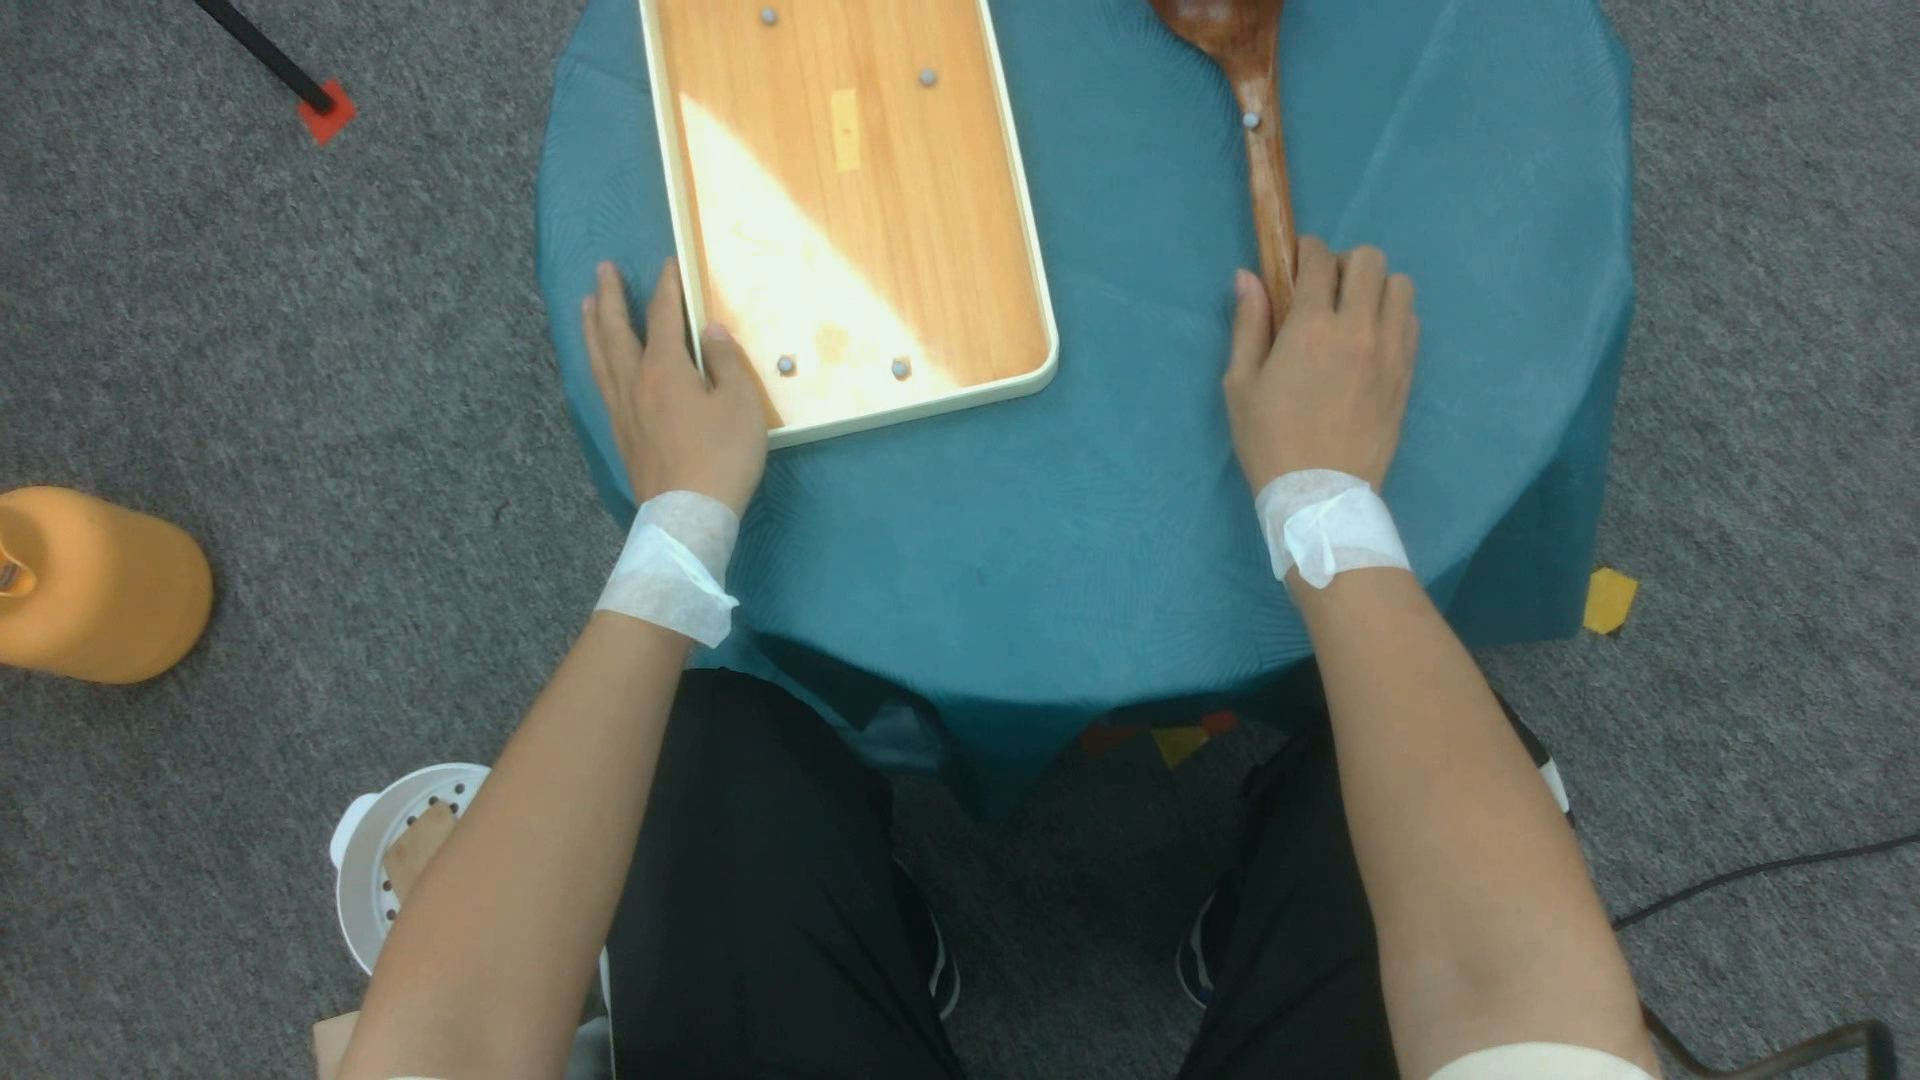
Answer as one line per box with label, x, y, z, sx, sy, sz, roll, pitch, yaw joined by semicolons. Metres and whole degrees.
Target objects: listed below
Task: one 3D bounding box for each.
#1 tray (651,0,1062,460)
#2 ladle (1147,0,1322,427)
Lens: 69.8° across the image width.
tray;-0.062;-0.204;0.773;0.191;0.027;0.301;-12;76;4
ladle;0.151;-0.198;0.726;0.081;0.077;0.274;-15;73;40
